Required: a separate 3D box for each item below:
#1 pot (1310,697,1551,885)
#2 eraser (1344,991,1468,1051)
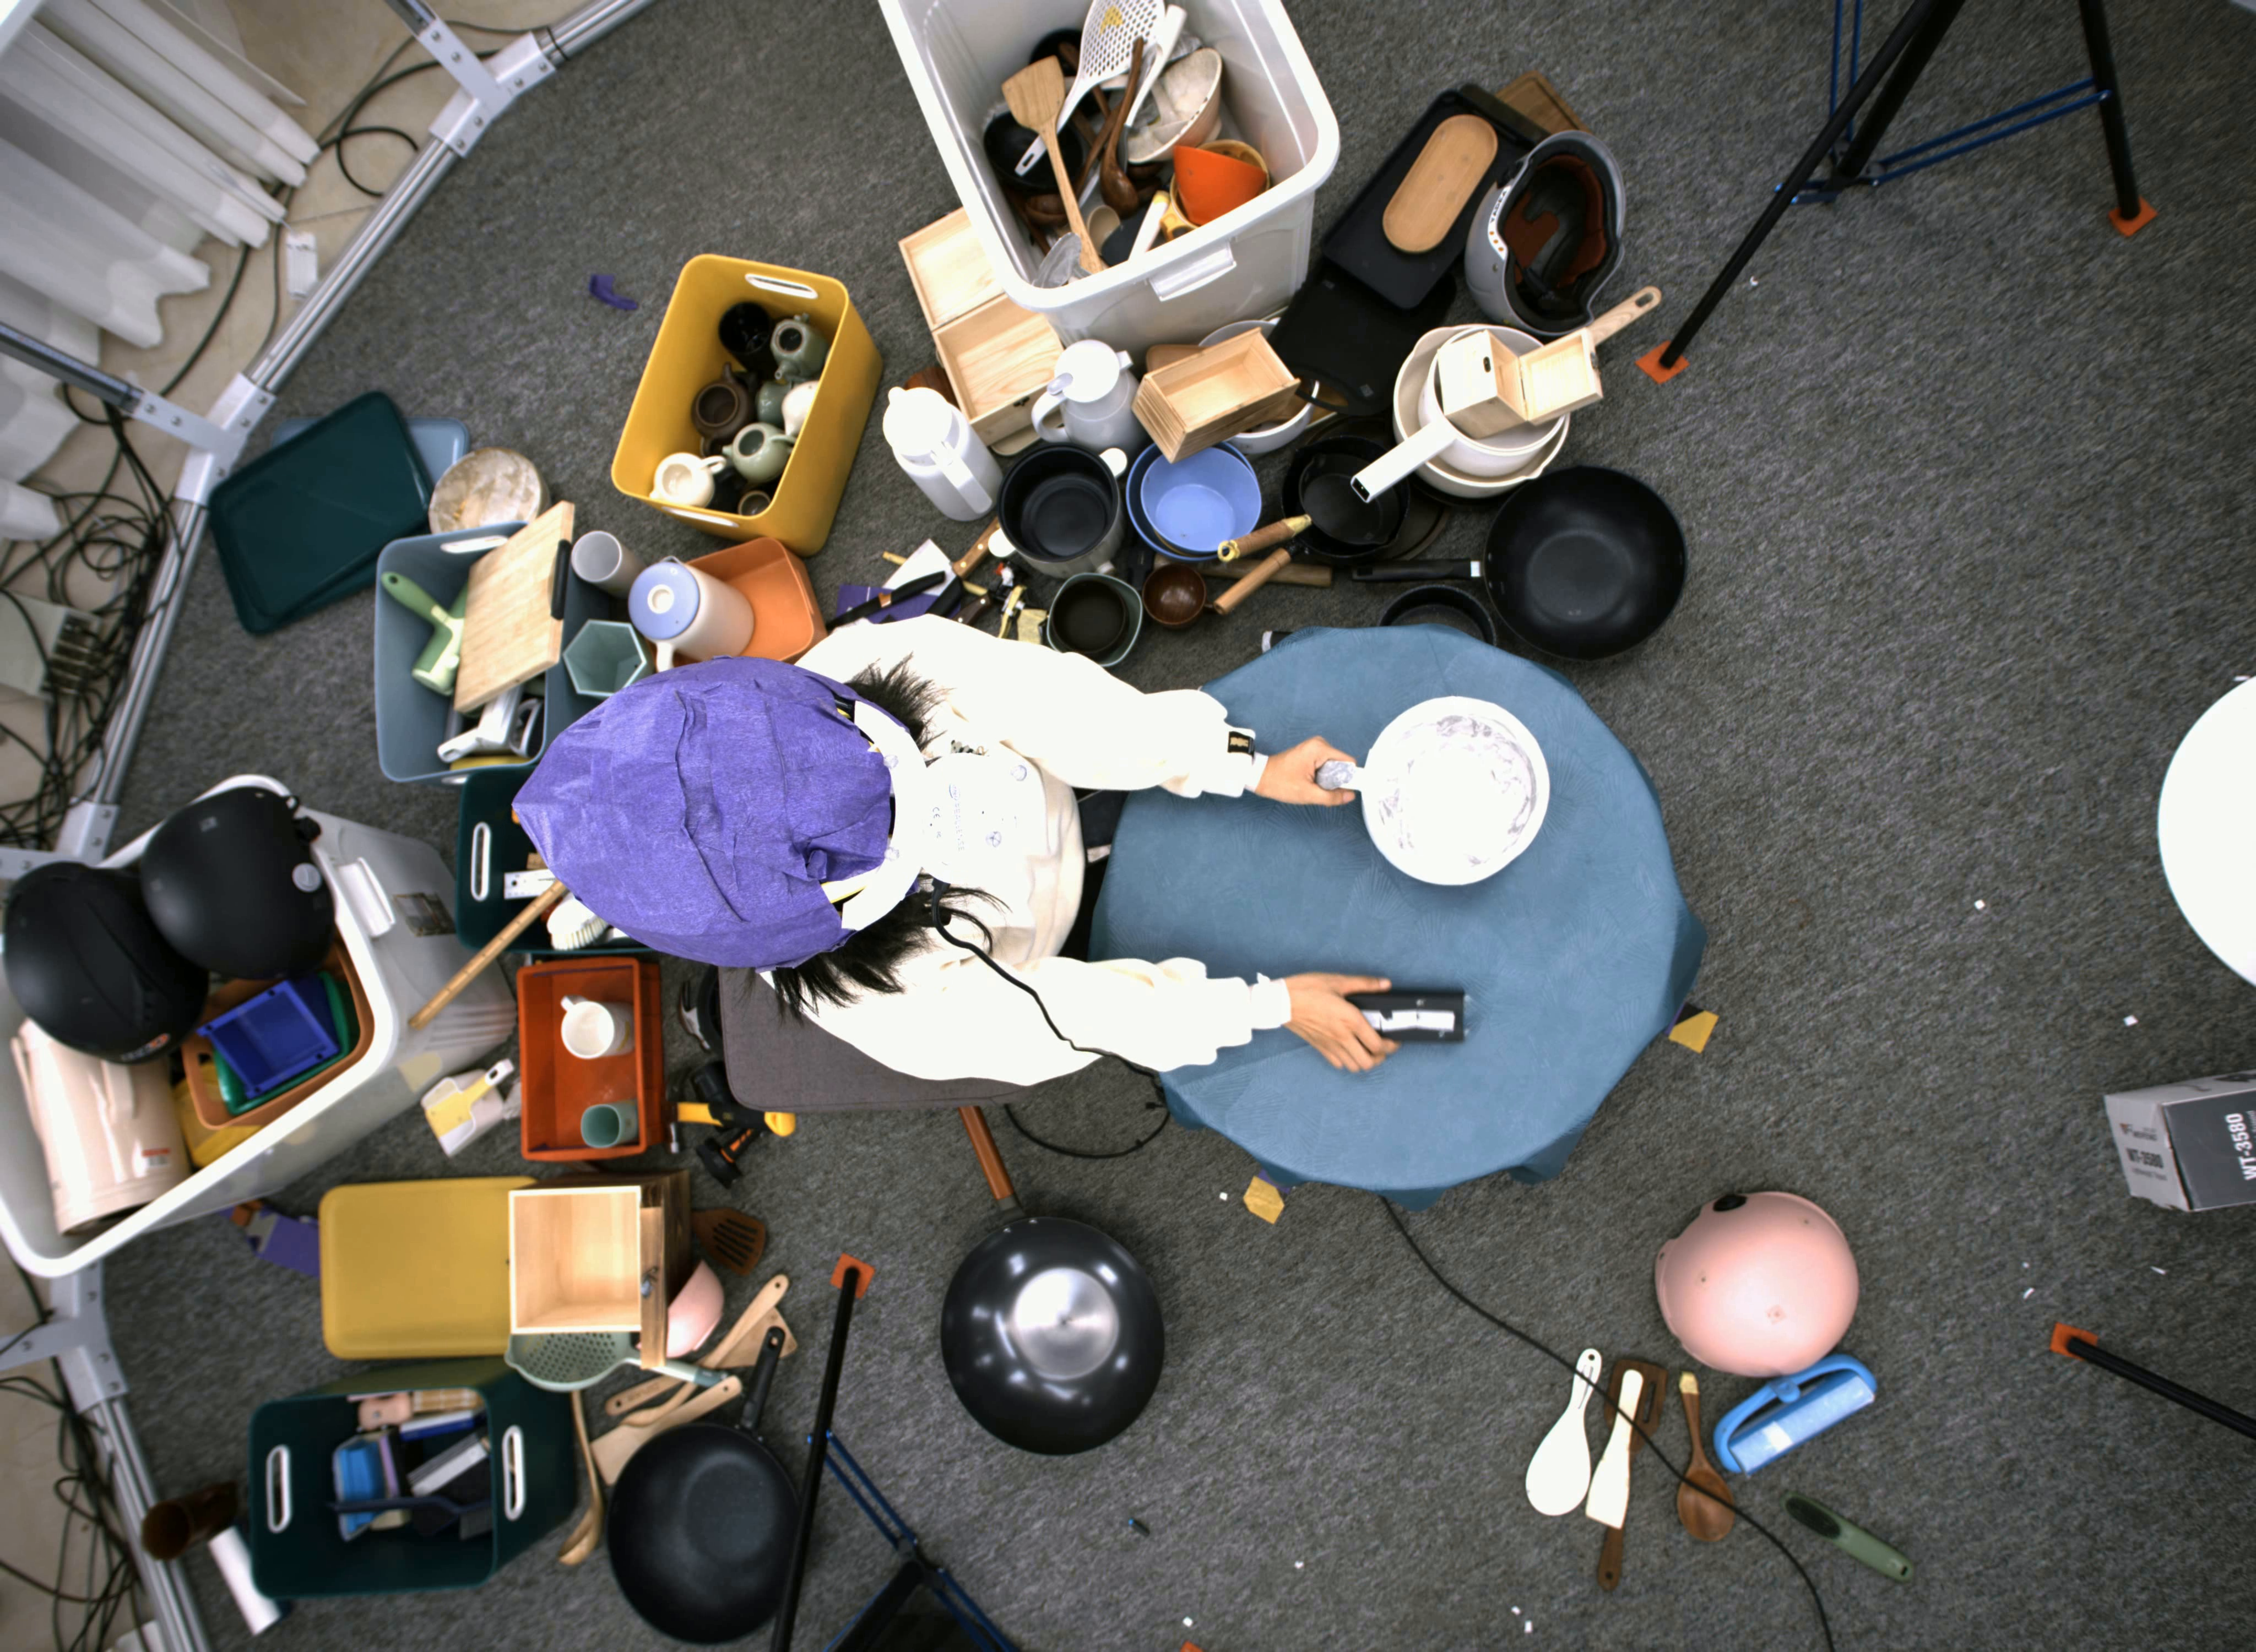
[{"bbox_3d":[0.299,-0.036,1.389,0.234,0.137,0.178,7,86,10],"label":"pot"},{"bbox_3d":[0.288,0.199,1.429,0.126,0.030,0.054,2,98,11],"label":"eraser"}]
